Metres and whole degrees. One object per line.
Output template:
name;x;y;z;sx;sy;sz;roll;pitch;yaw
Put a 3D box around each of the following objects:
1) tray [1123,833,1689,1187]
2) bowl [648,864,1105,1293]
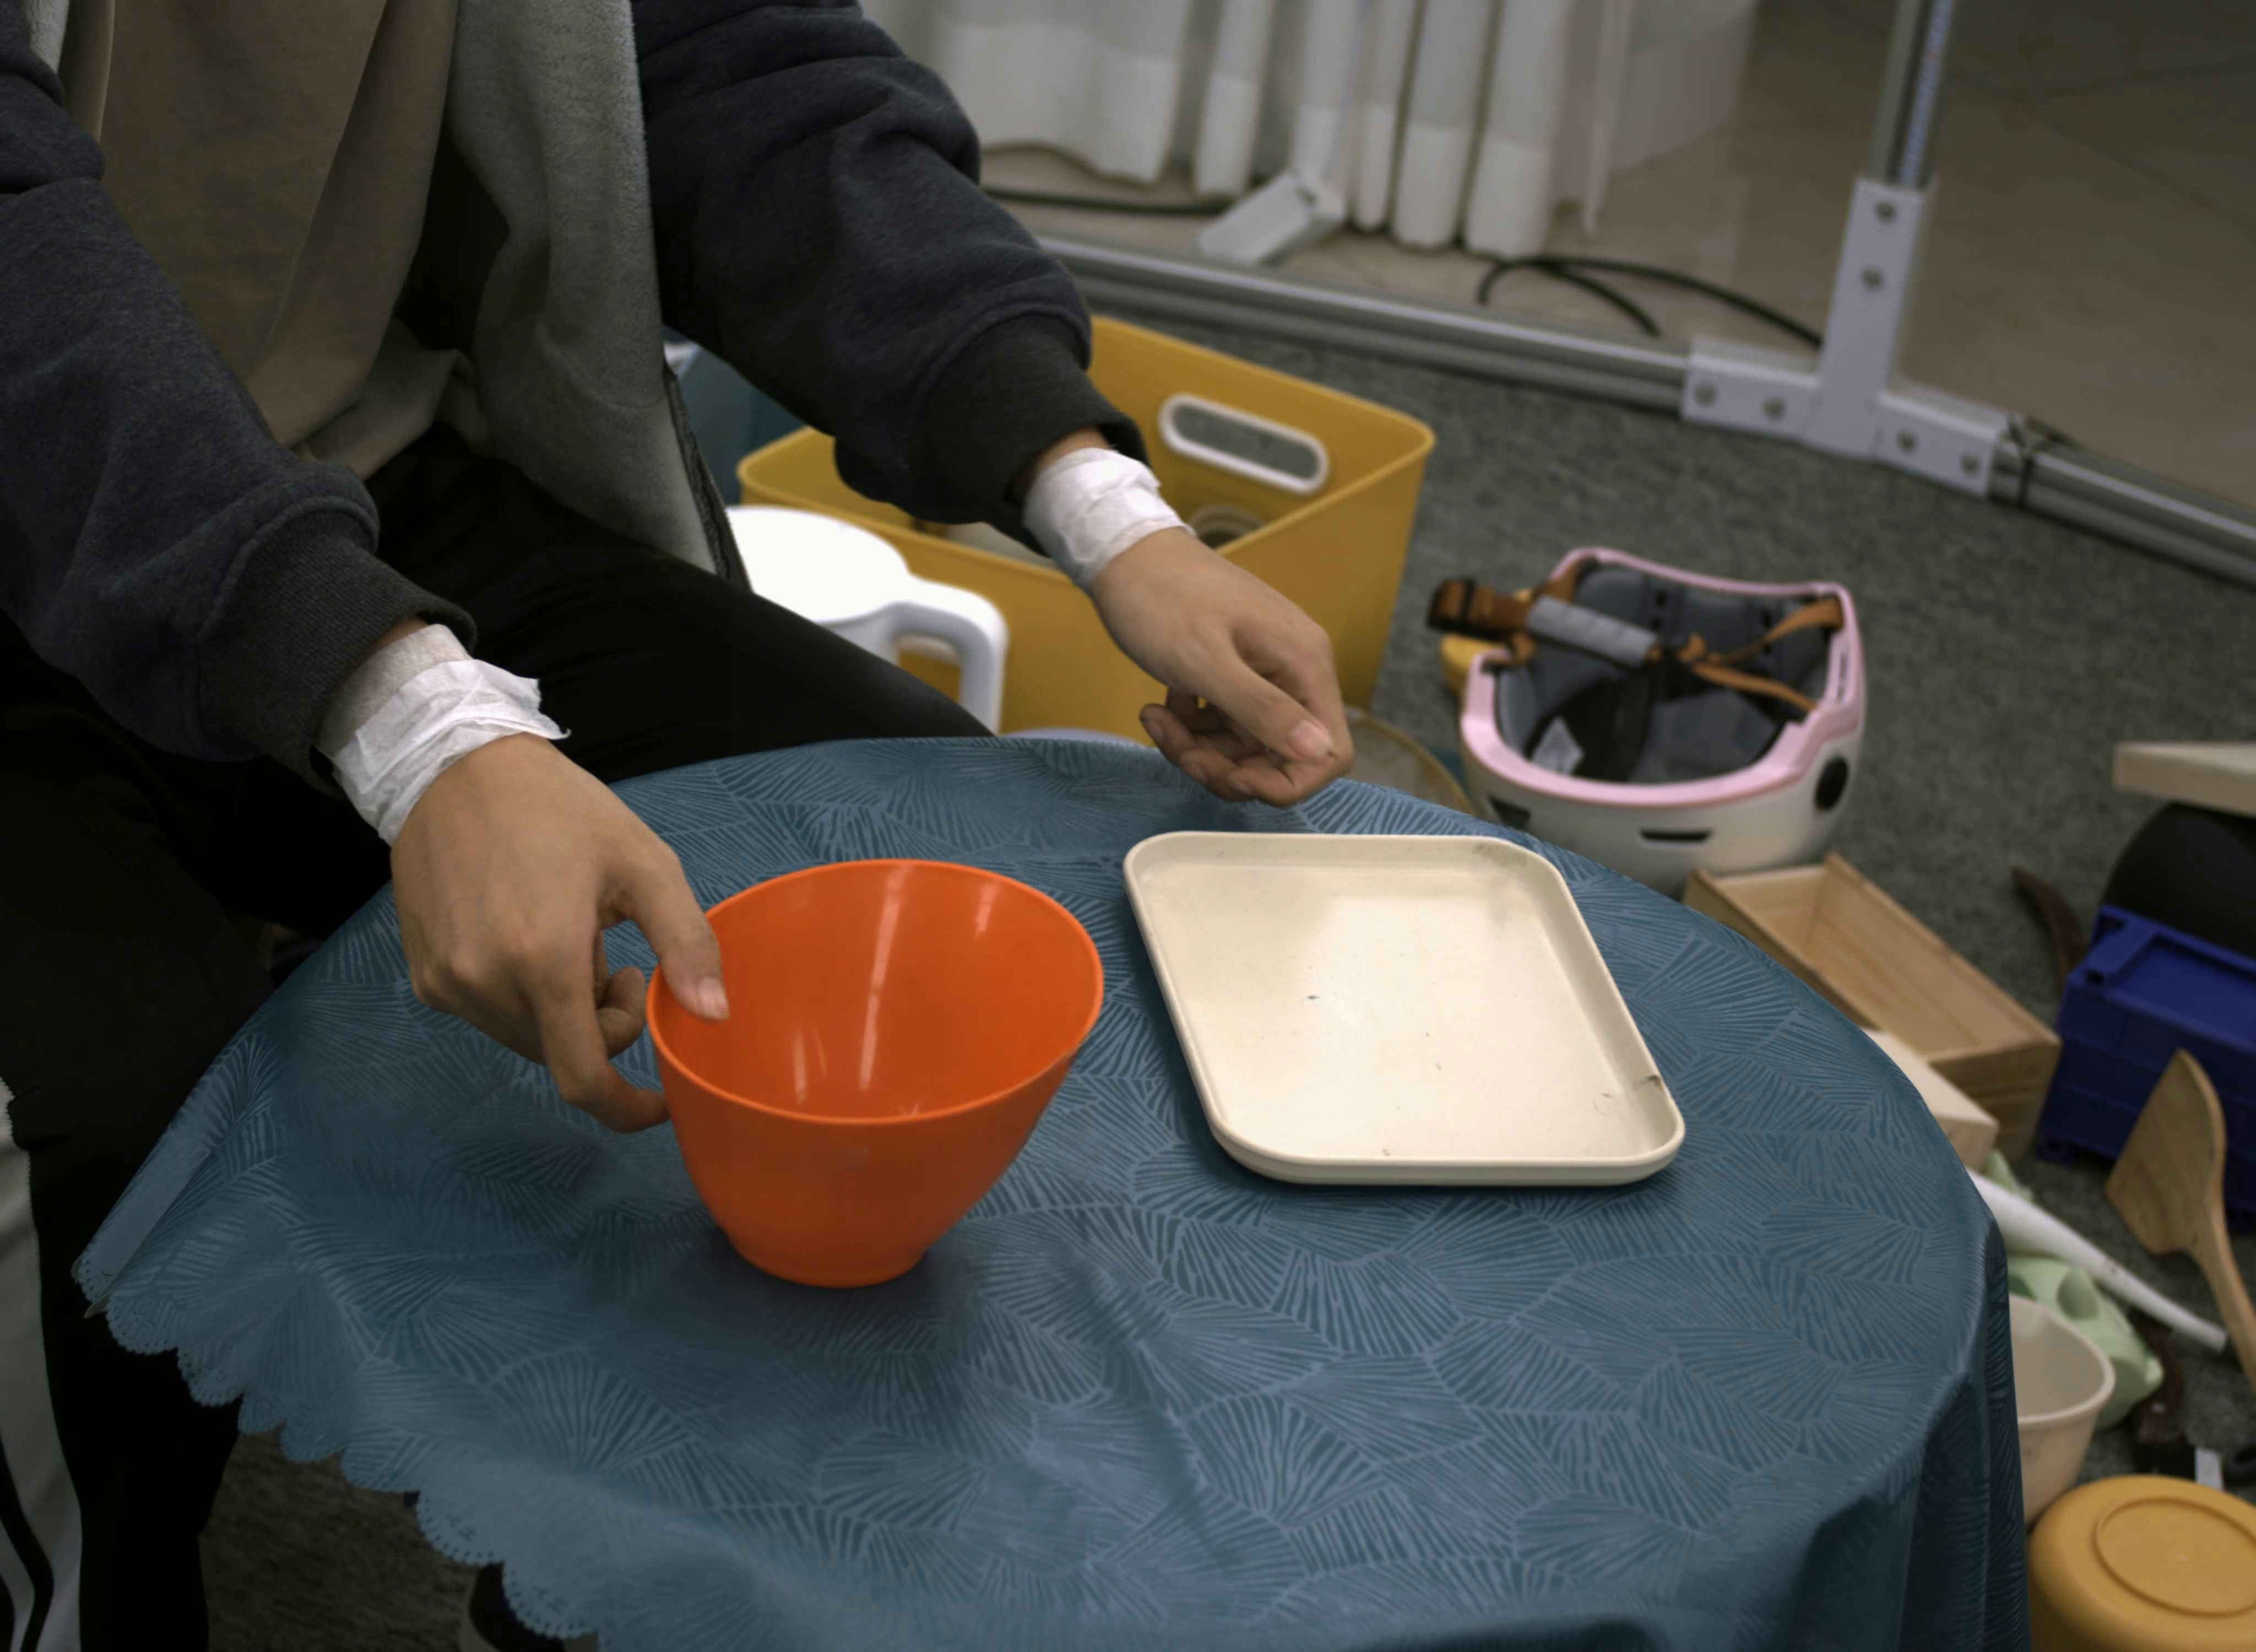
tray;0.096;0.065;1.918;0.170;0.017;0.241;0;28;-11
bowl;-0.086;0.089;1.739;0.147;0.104;0.149;6;27;-4
